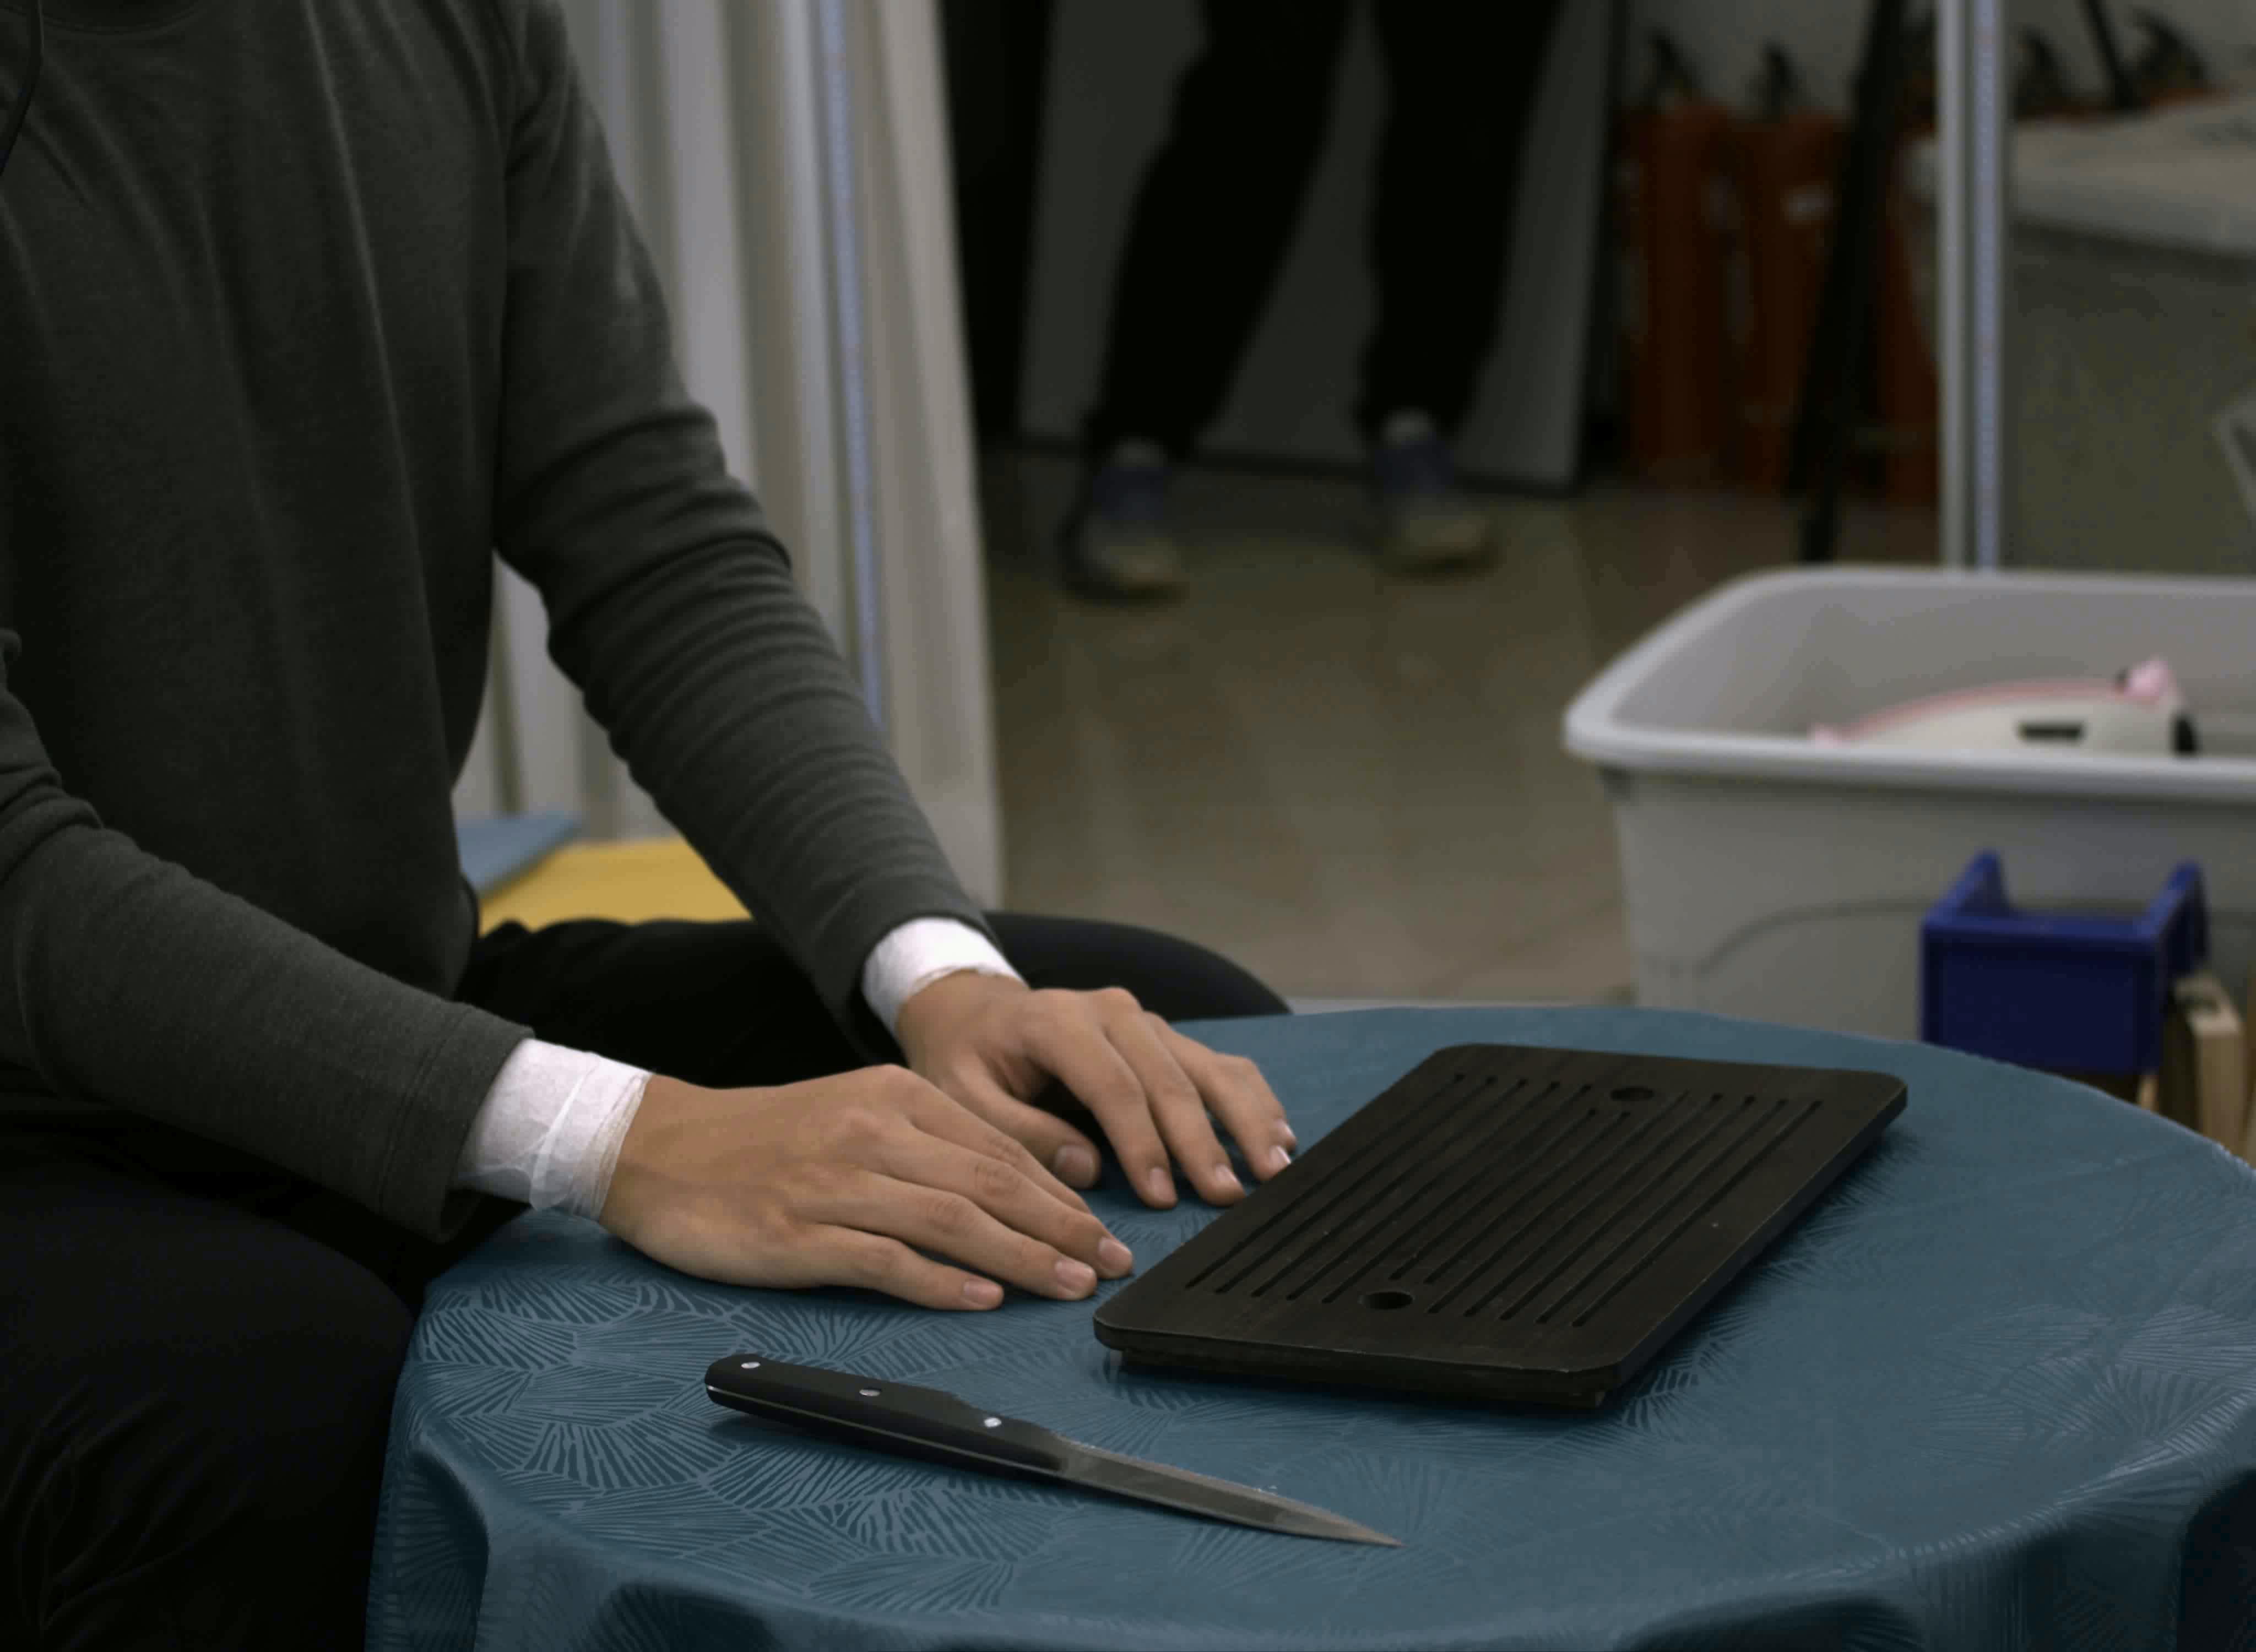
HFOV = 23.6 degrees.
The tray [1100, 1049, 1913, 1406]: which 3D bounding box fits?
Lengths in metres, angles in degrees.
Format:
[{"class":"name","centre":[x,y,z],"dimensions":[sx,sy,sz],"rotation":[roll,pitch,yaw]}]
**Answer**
[{"class":"tray","centre":[0.126,0.123,1.692],"dimensions":[0.170,0.019,0.302],"rotation":[2,15,26]}]

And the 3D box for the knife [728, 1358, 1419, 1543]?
[{"class":"knife","centre":[-0.021,0.179,1.519],"dimensions":[0.239,0.016,0.024],"rotation":[9,20,34]}]
